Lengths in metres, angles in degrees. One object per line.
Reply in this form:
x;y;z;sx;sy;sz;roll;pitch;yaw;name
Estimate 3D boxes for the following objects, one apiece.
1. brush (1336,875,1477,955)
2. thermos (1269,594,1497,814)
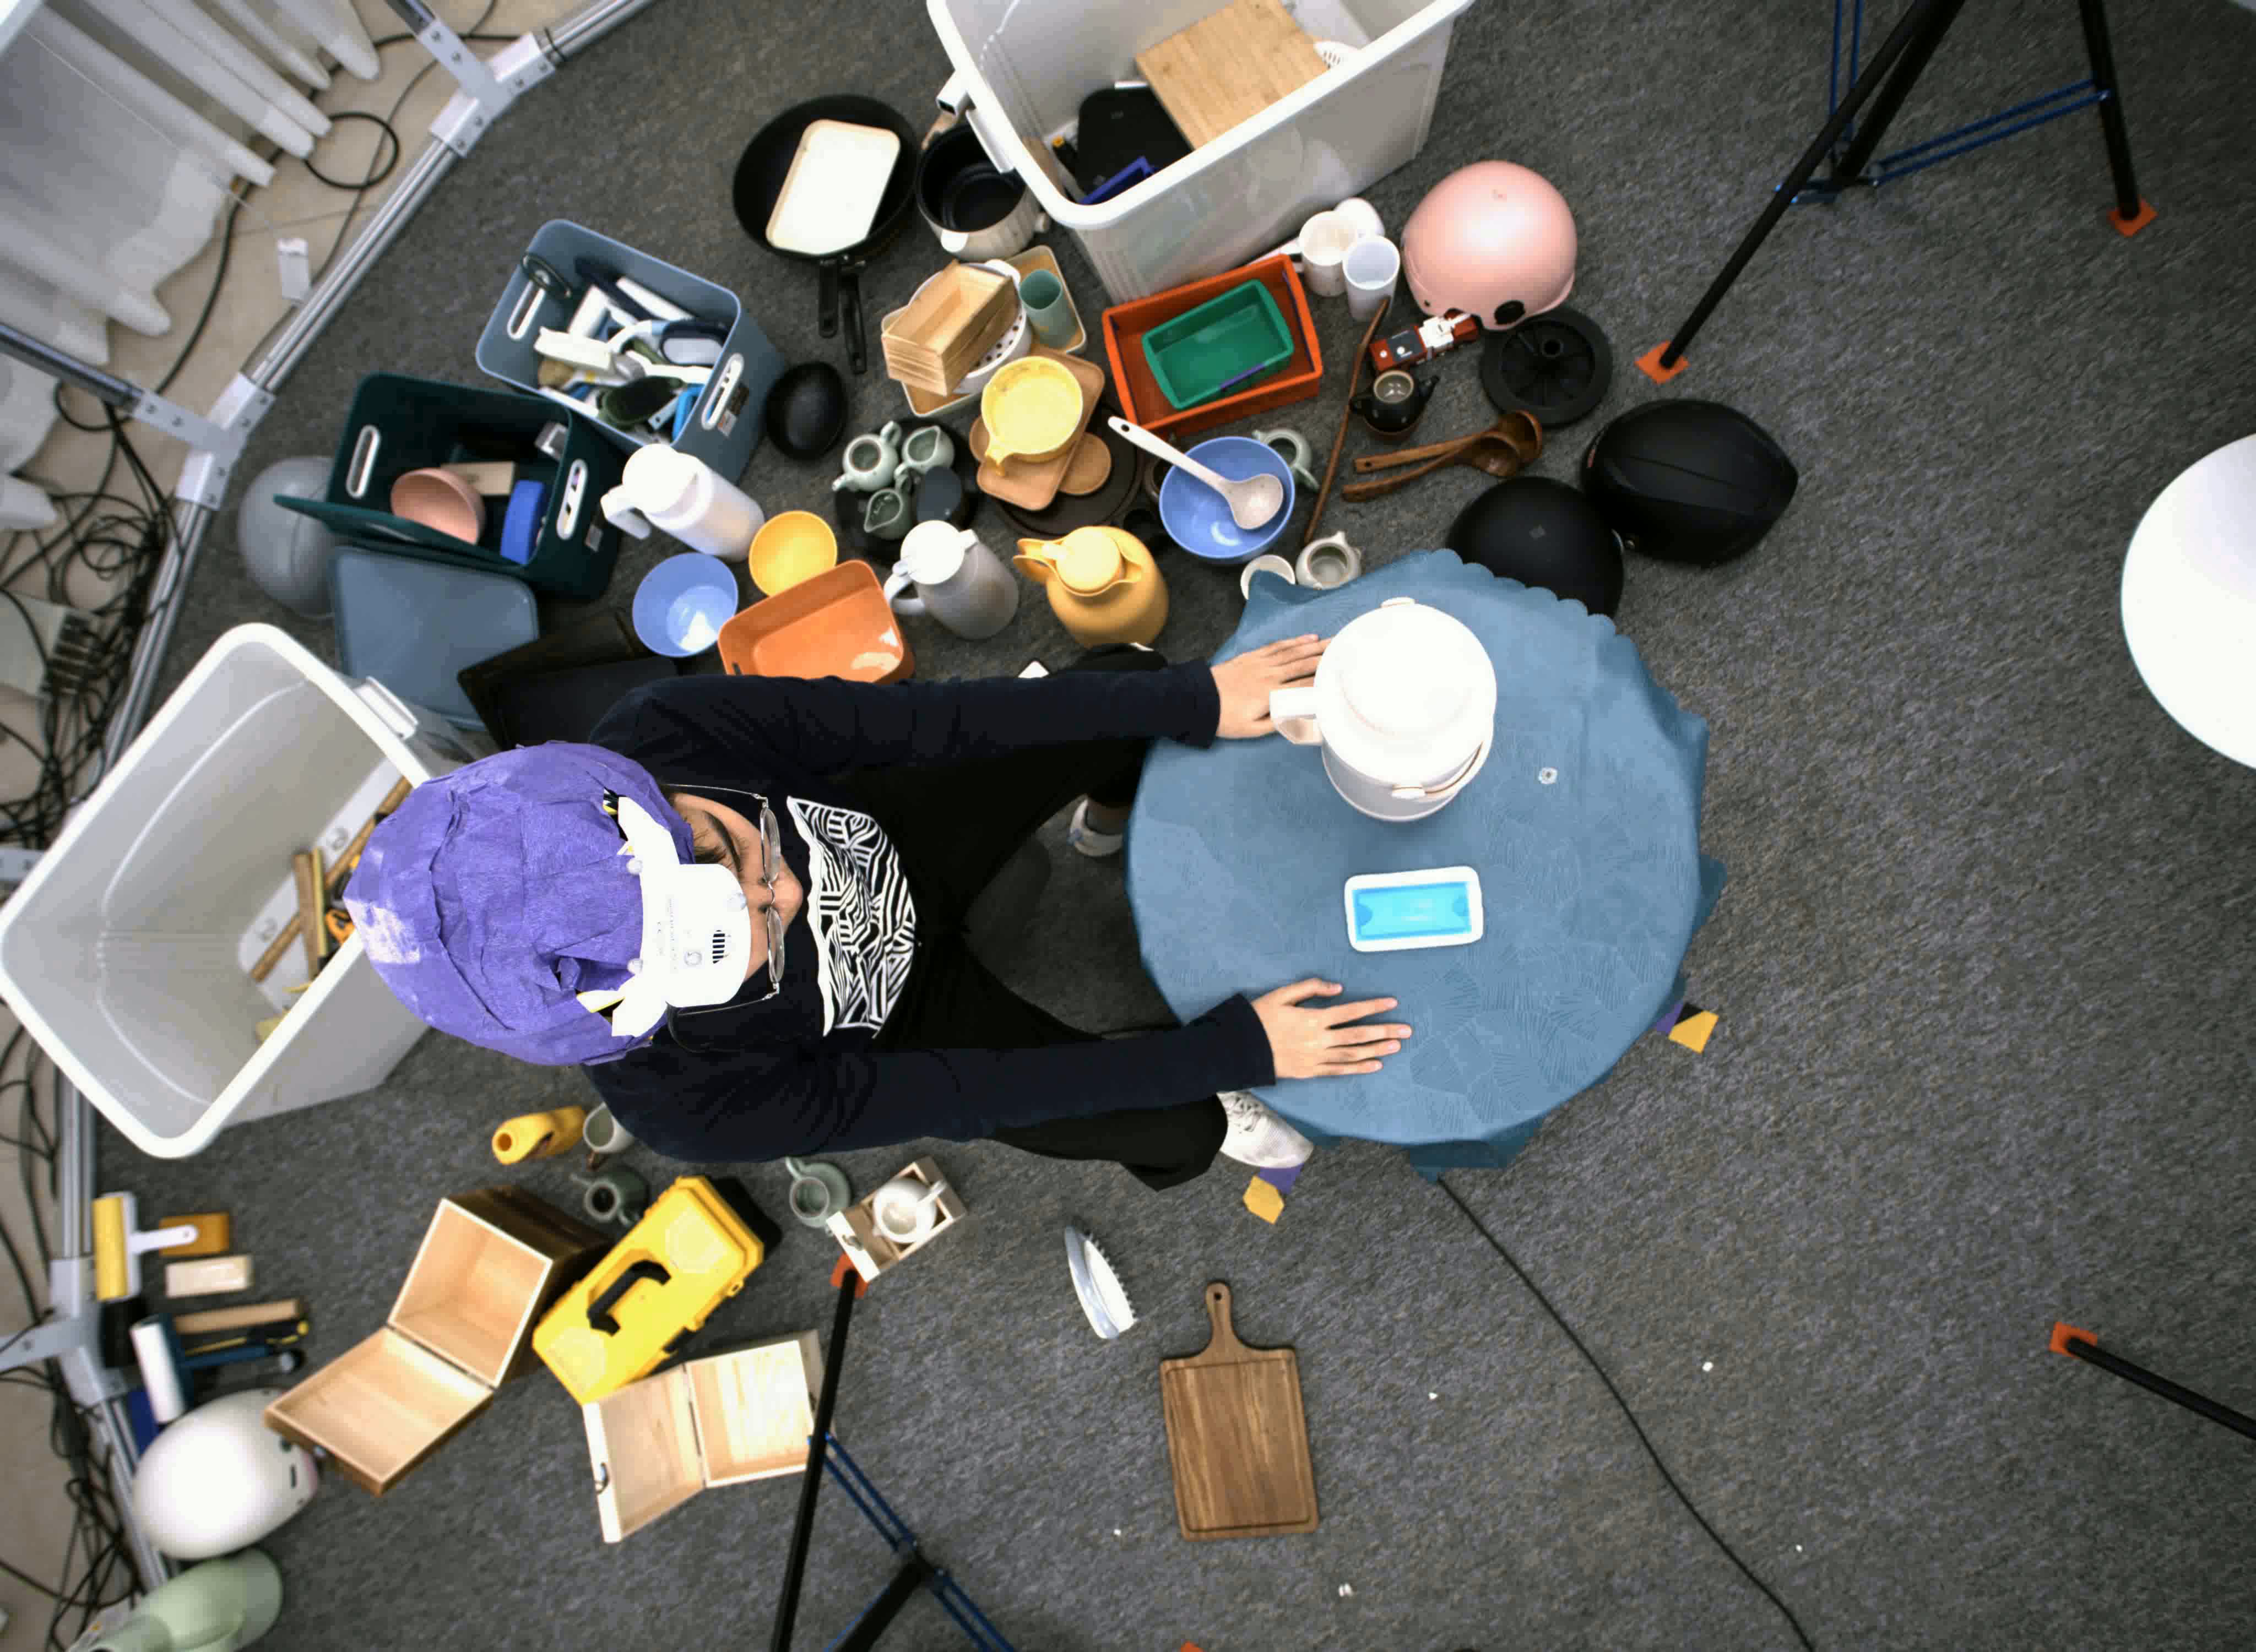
0.288;0.087;1.422;0.144;0.056;0.083;-4;82;6;brush
0.240;-0.109;1.272;0.208;0.406;0.174;-4;86;11;thermos
